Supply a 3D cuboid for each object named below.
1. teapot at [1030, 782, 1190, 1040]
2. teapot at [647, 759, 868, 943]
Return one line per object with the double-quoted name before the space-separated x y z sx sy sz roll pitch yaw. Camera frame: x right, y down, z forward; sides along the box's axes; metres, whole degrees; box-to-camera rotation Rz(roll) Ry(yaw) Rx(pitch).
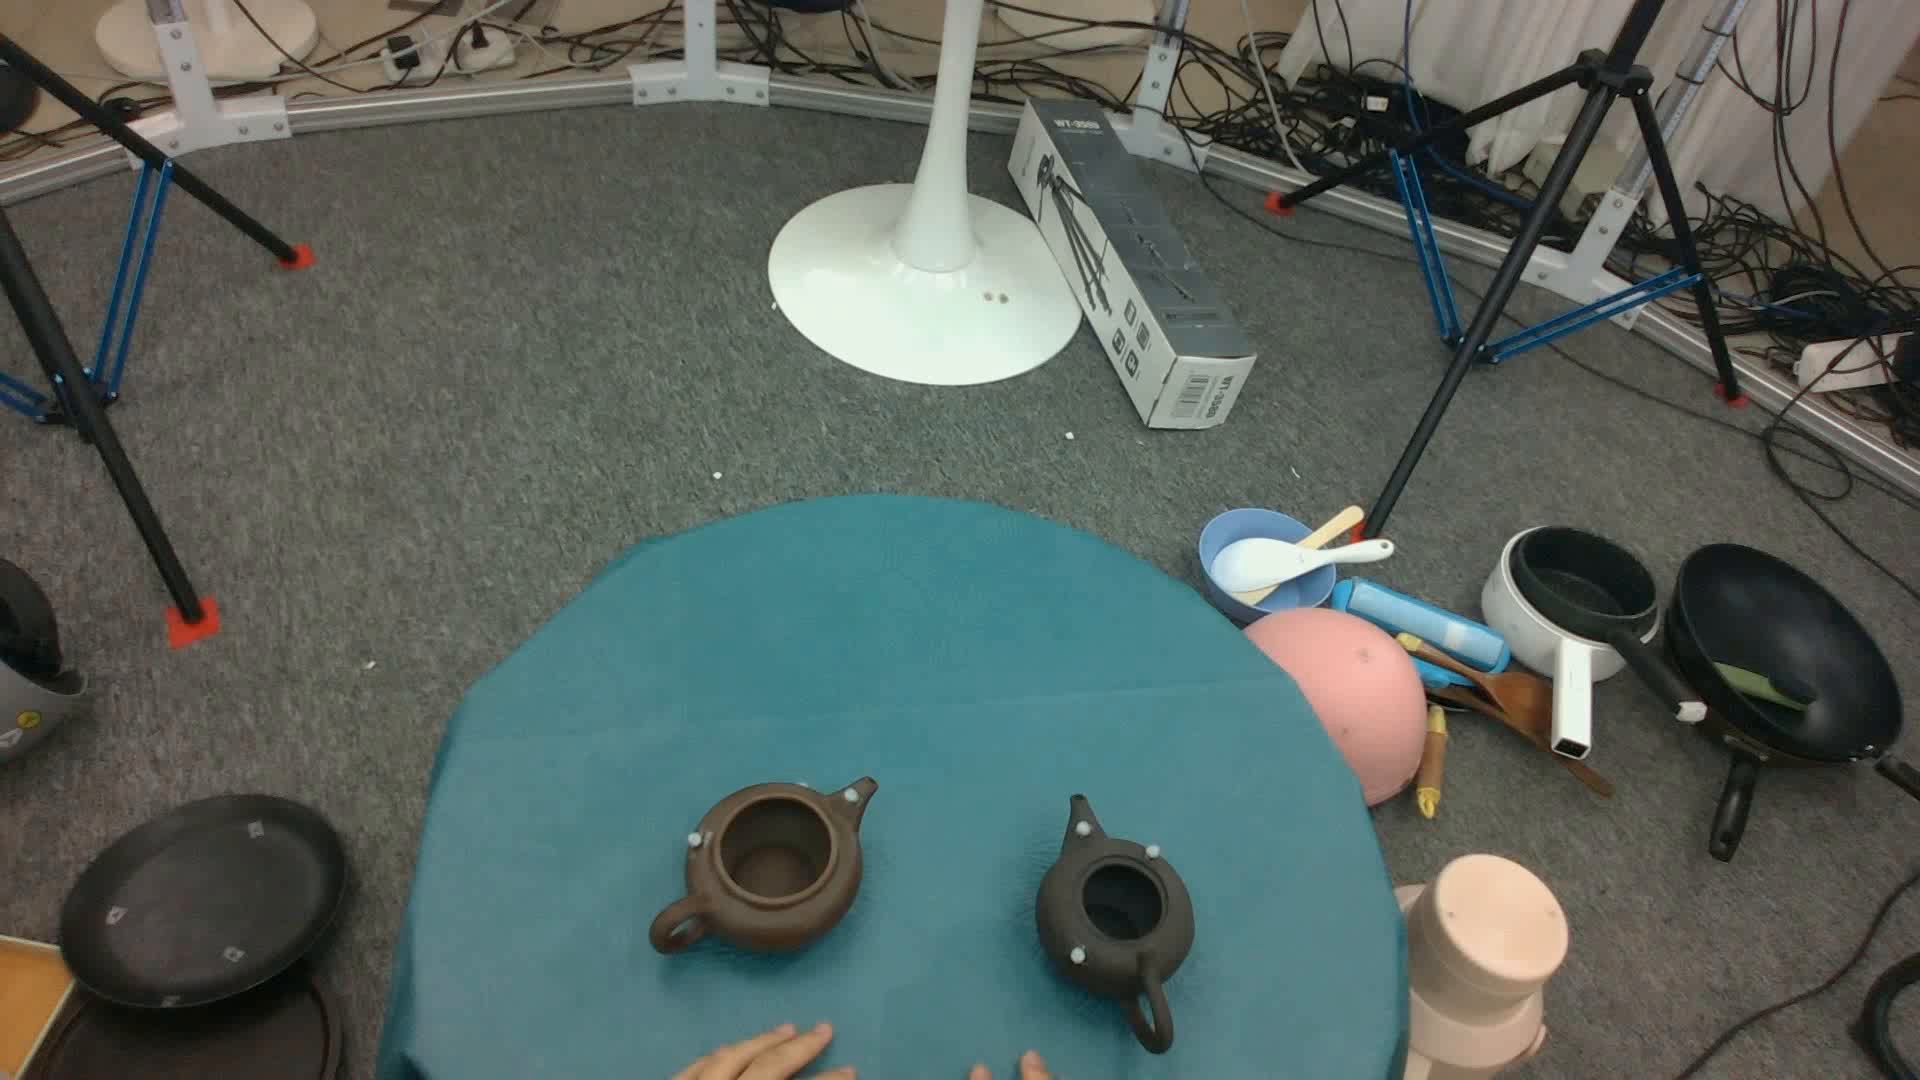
"teapot" 0.087 0.215 0.802 0.092 0.064 0.155 -8 51 -15
"teapot" -0.114 0.182 0.796 0.102 0.053 0.154 38 52 24
